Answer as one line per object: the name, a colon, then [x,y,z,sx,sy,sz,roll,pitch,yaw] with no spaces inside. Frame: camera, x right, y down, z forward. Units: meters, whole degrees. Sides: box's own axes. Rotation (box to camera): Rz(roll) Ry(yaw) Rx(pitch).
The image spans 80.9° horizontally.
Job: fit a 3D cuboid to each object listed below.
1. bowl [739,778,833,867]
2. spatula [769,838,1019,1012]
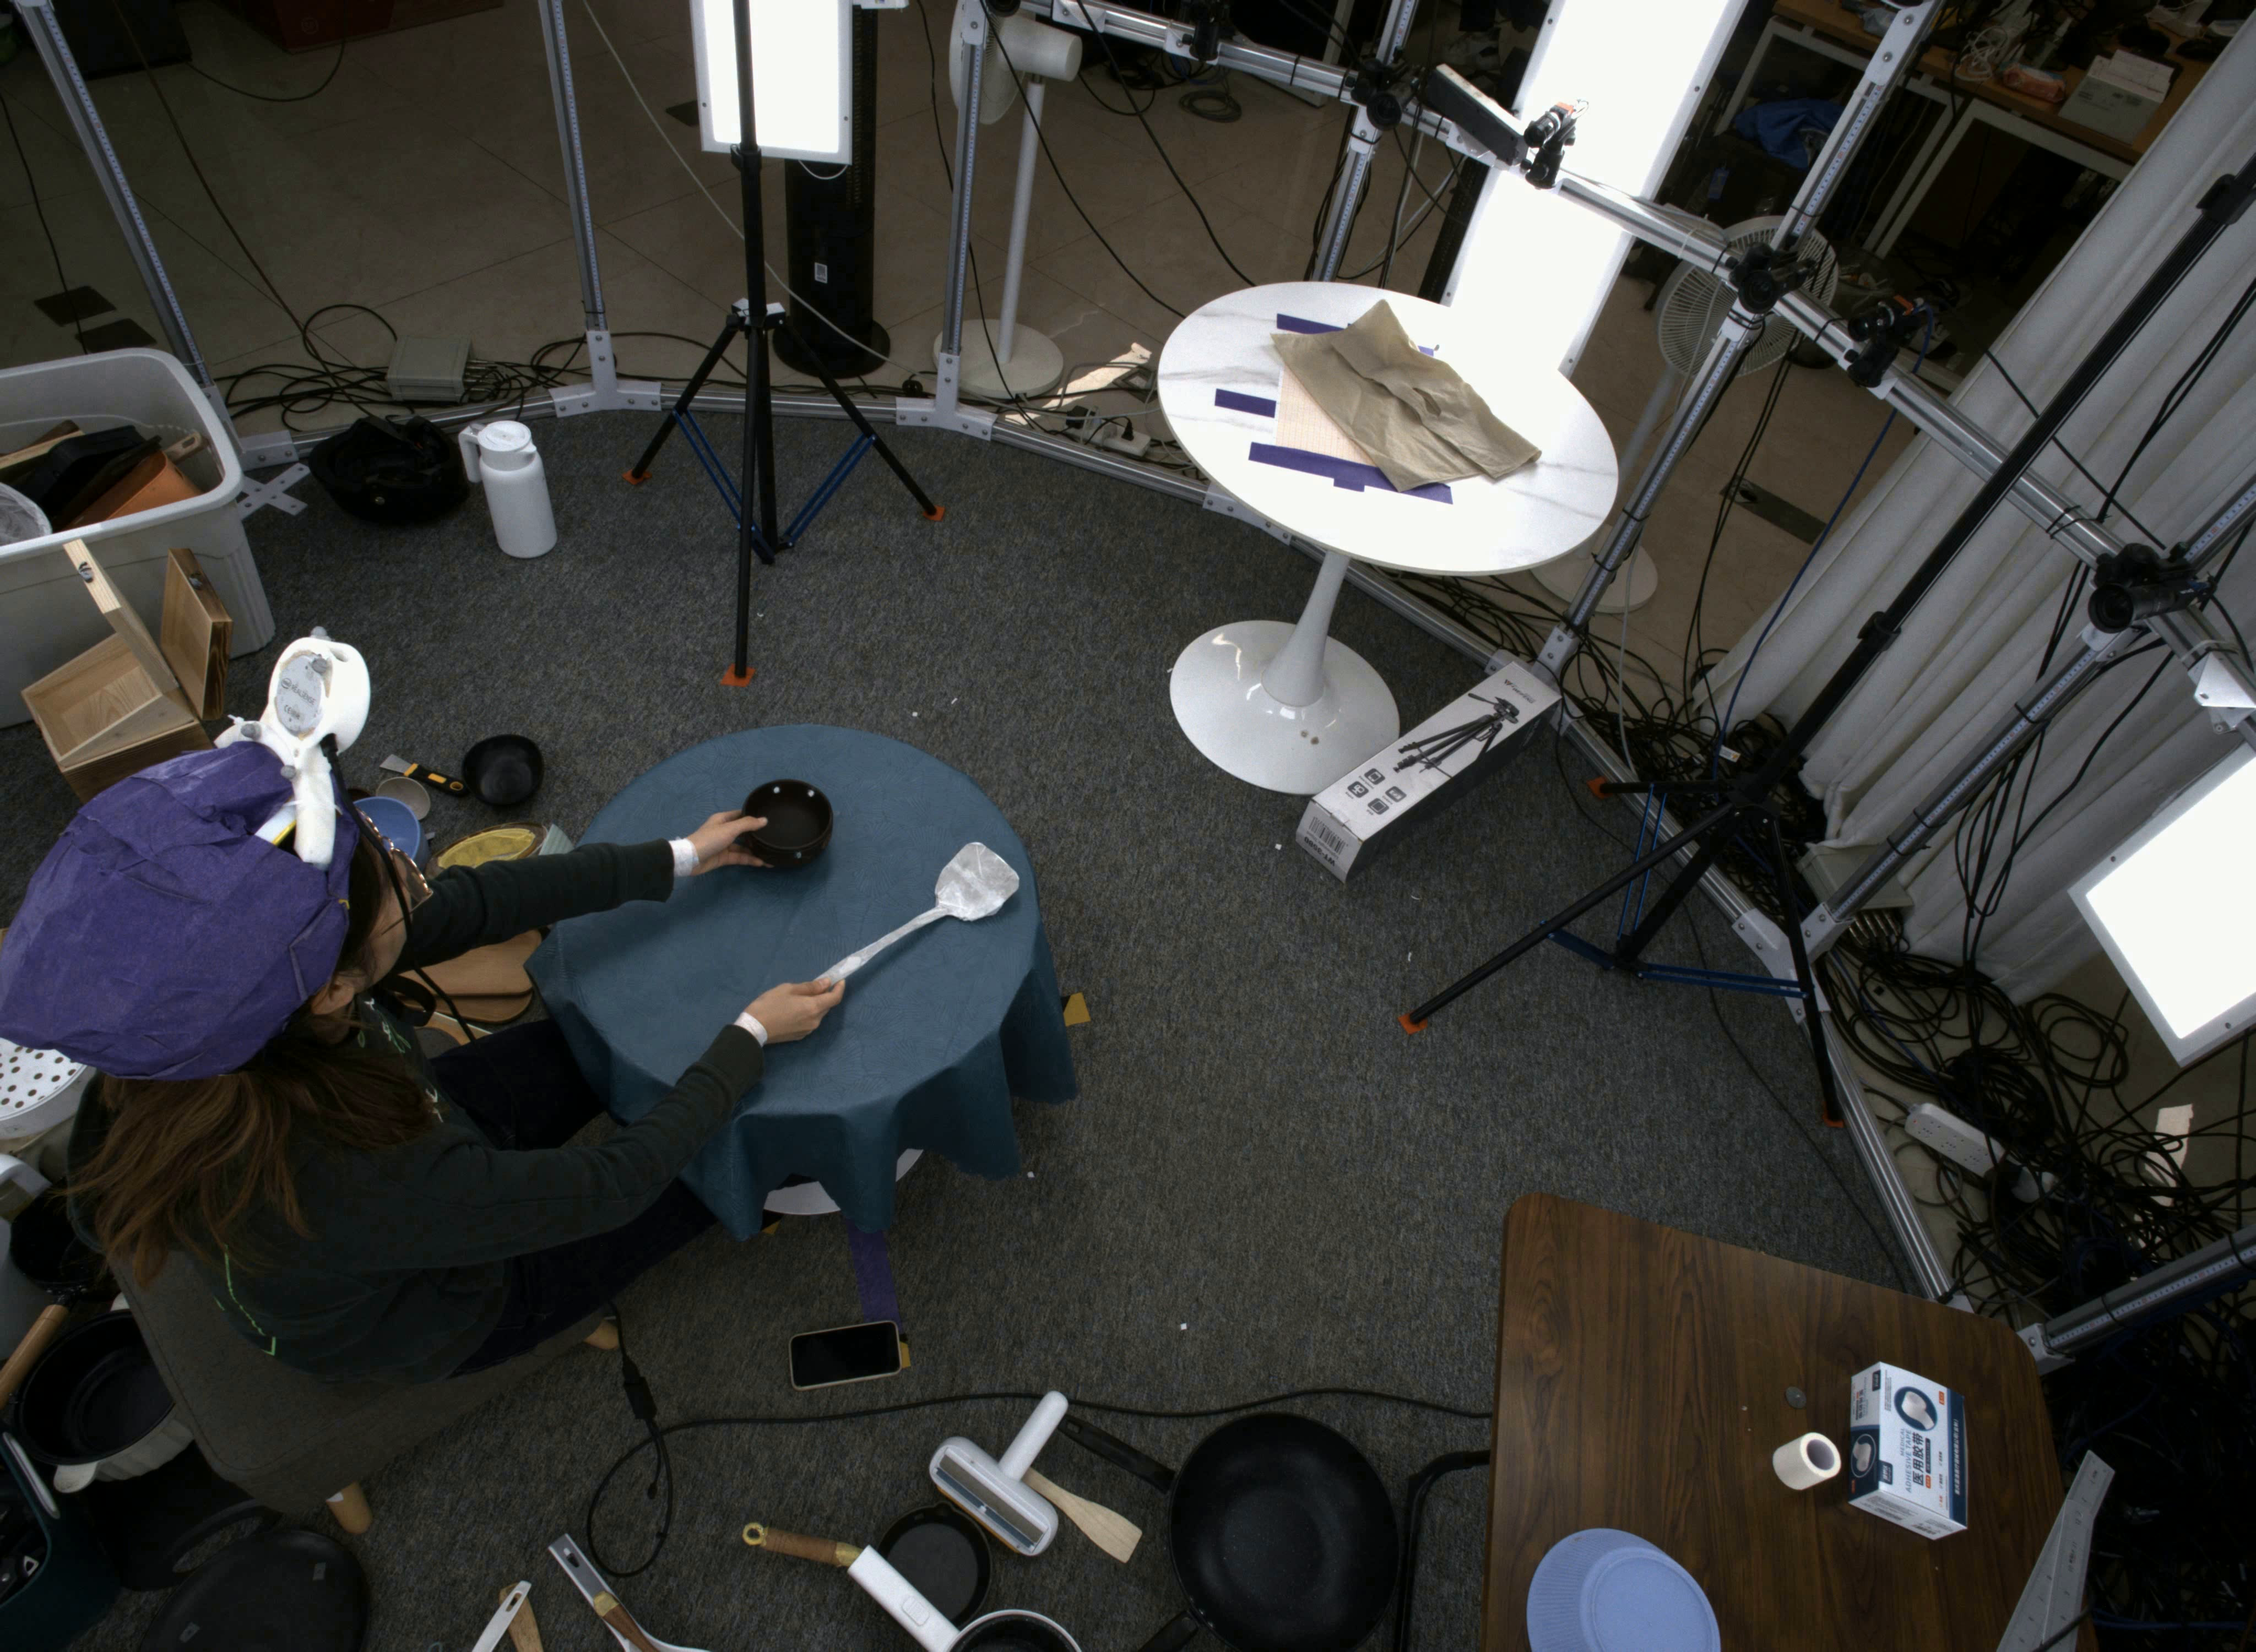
bowl: [-0.441,0.003,1.674,0.118,0.071,0.116,9,50,-9]
spatula: [-0.292,0.129,1.630,0.096,0.045,0.366,43,50,18]
